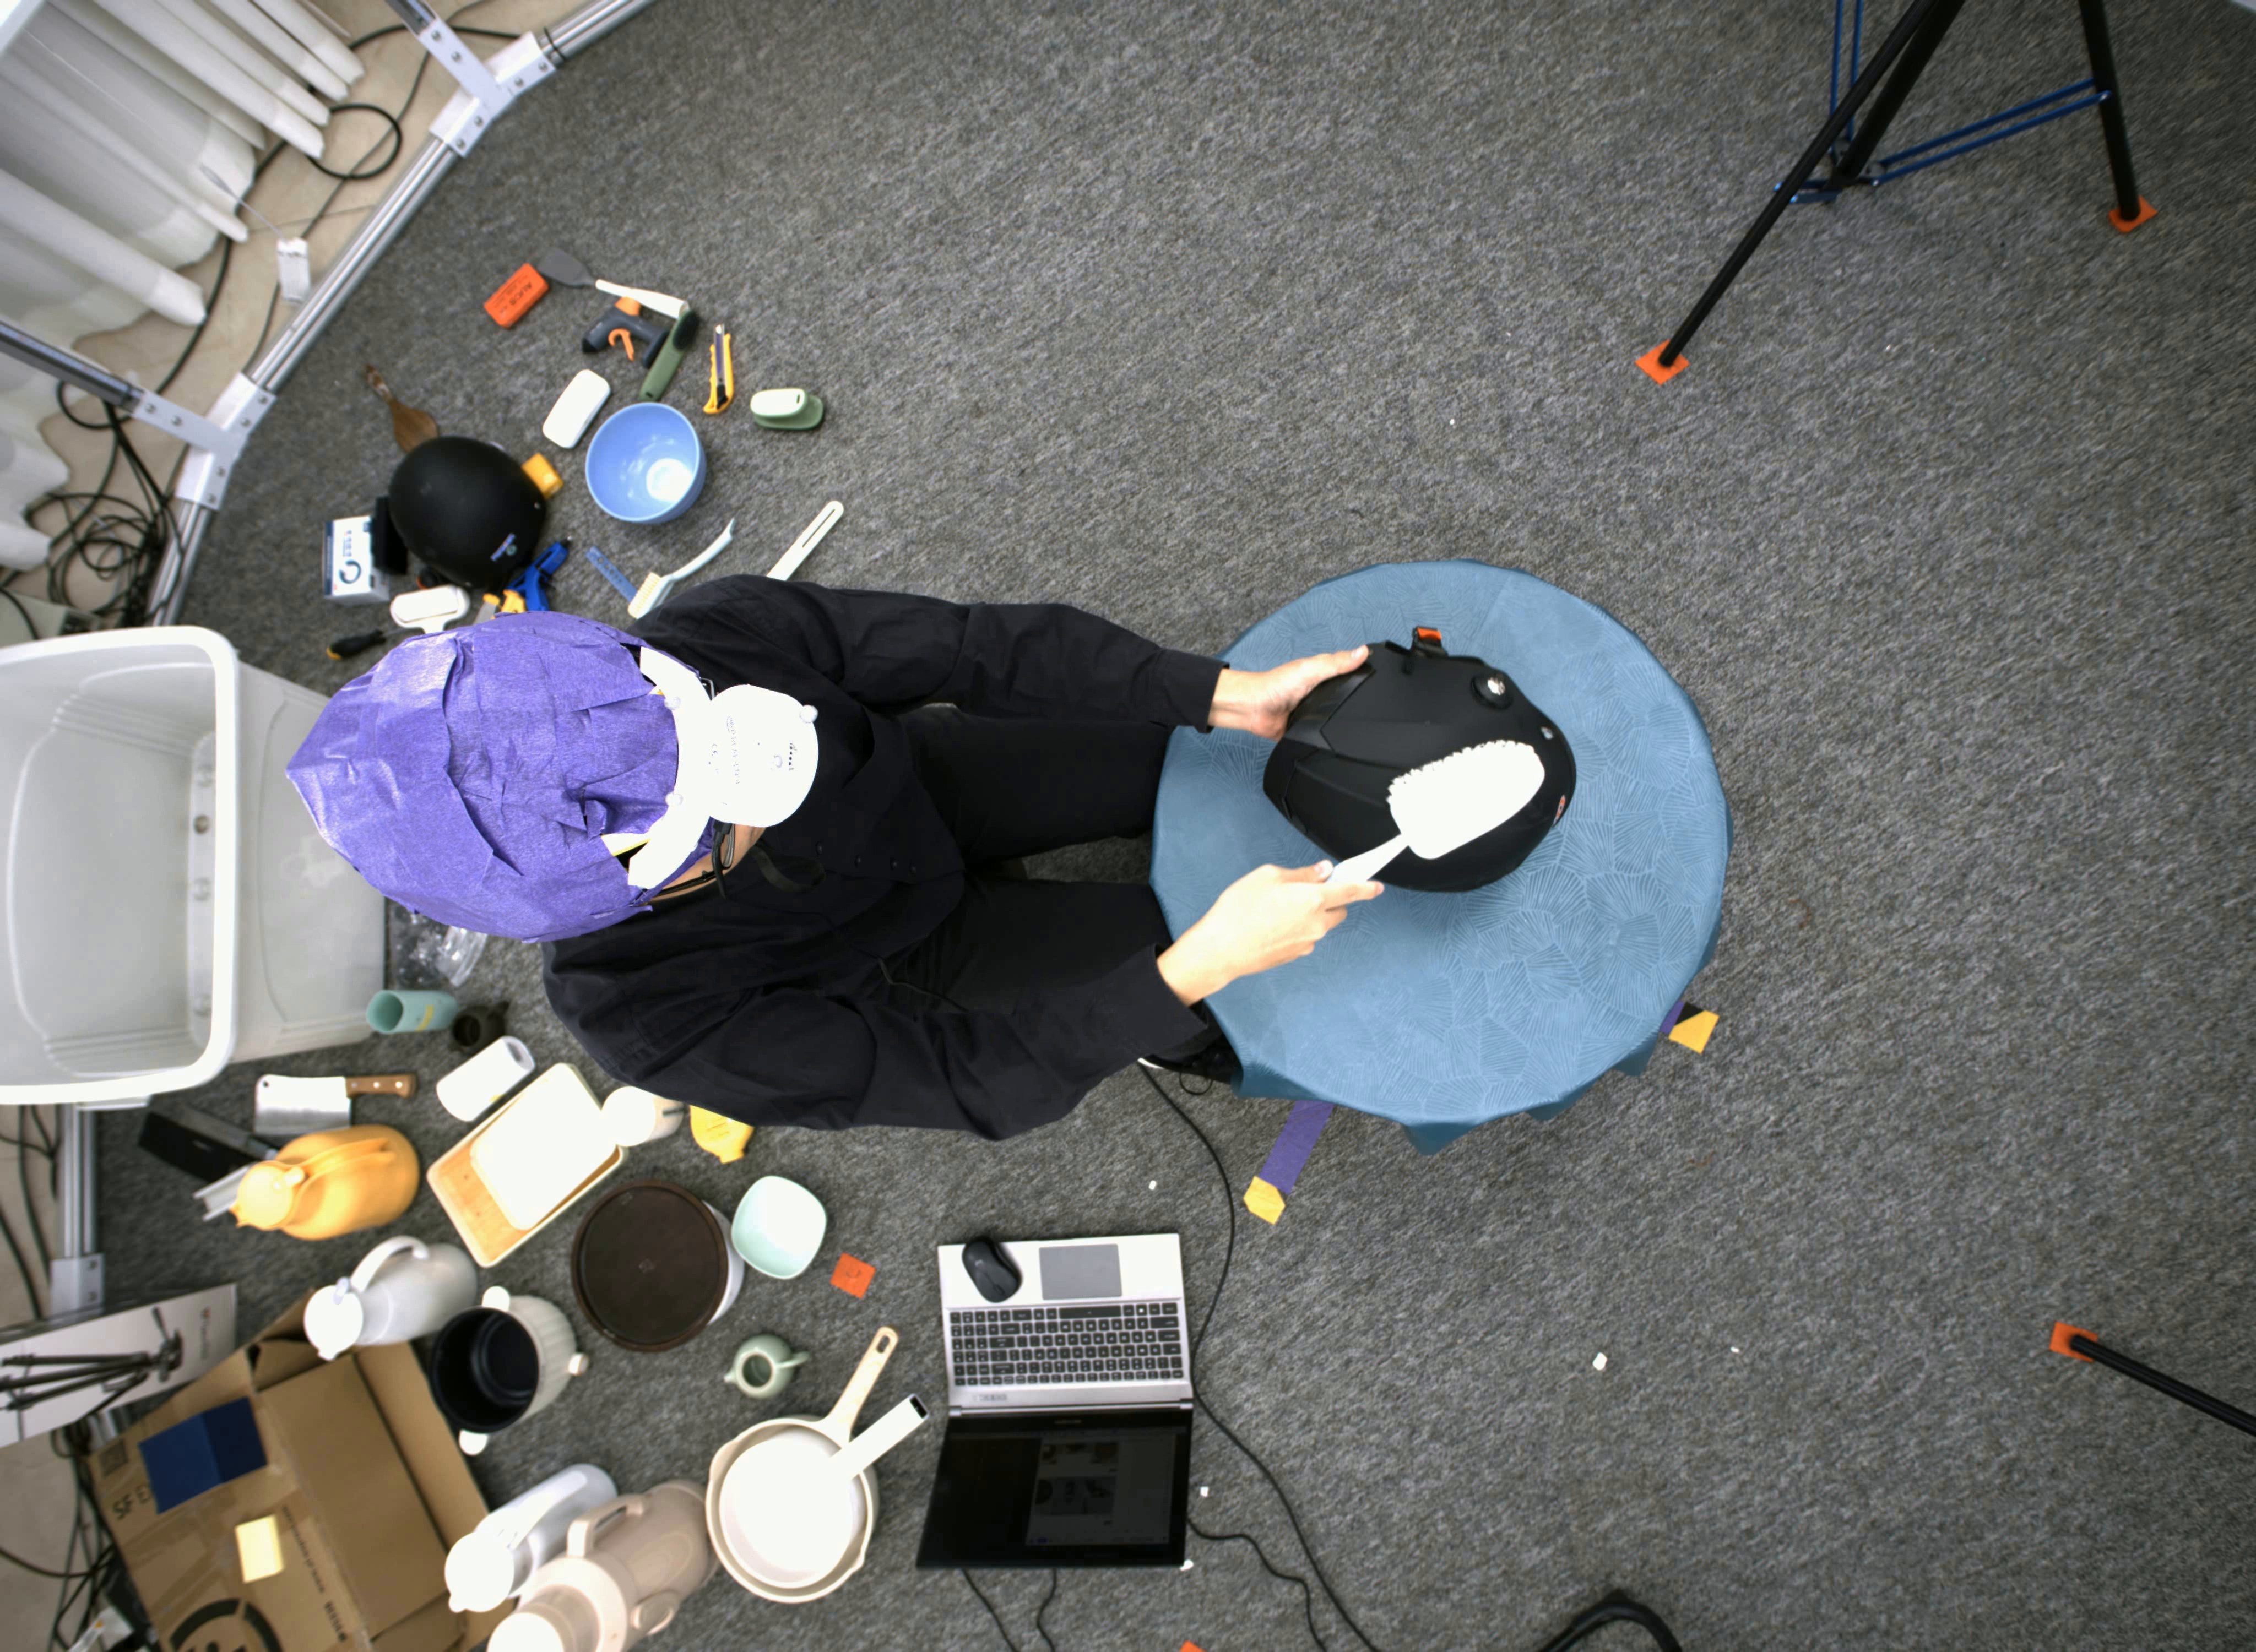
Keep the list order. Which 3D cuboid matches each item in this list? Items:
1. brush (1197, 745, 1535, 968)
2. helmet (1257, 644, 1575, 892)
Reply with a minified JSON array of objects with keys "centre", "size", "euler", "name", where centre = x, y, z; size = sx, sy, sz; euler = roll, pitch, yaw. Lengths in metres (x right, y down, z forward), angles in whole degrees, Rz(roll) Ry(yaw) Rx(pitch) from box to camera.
[{"centre":[0.196,0.021,1.180],"size":[0.327,0.085,0.082],"euler":[-31,63,6],"name":"brush"},{"centre":[0.264,-0.038,1.275],"size":[0.277,0.168,0.253],"euler":[21,135,4],"name":"helmet"}]
